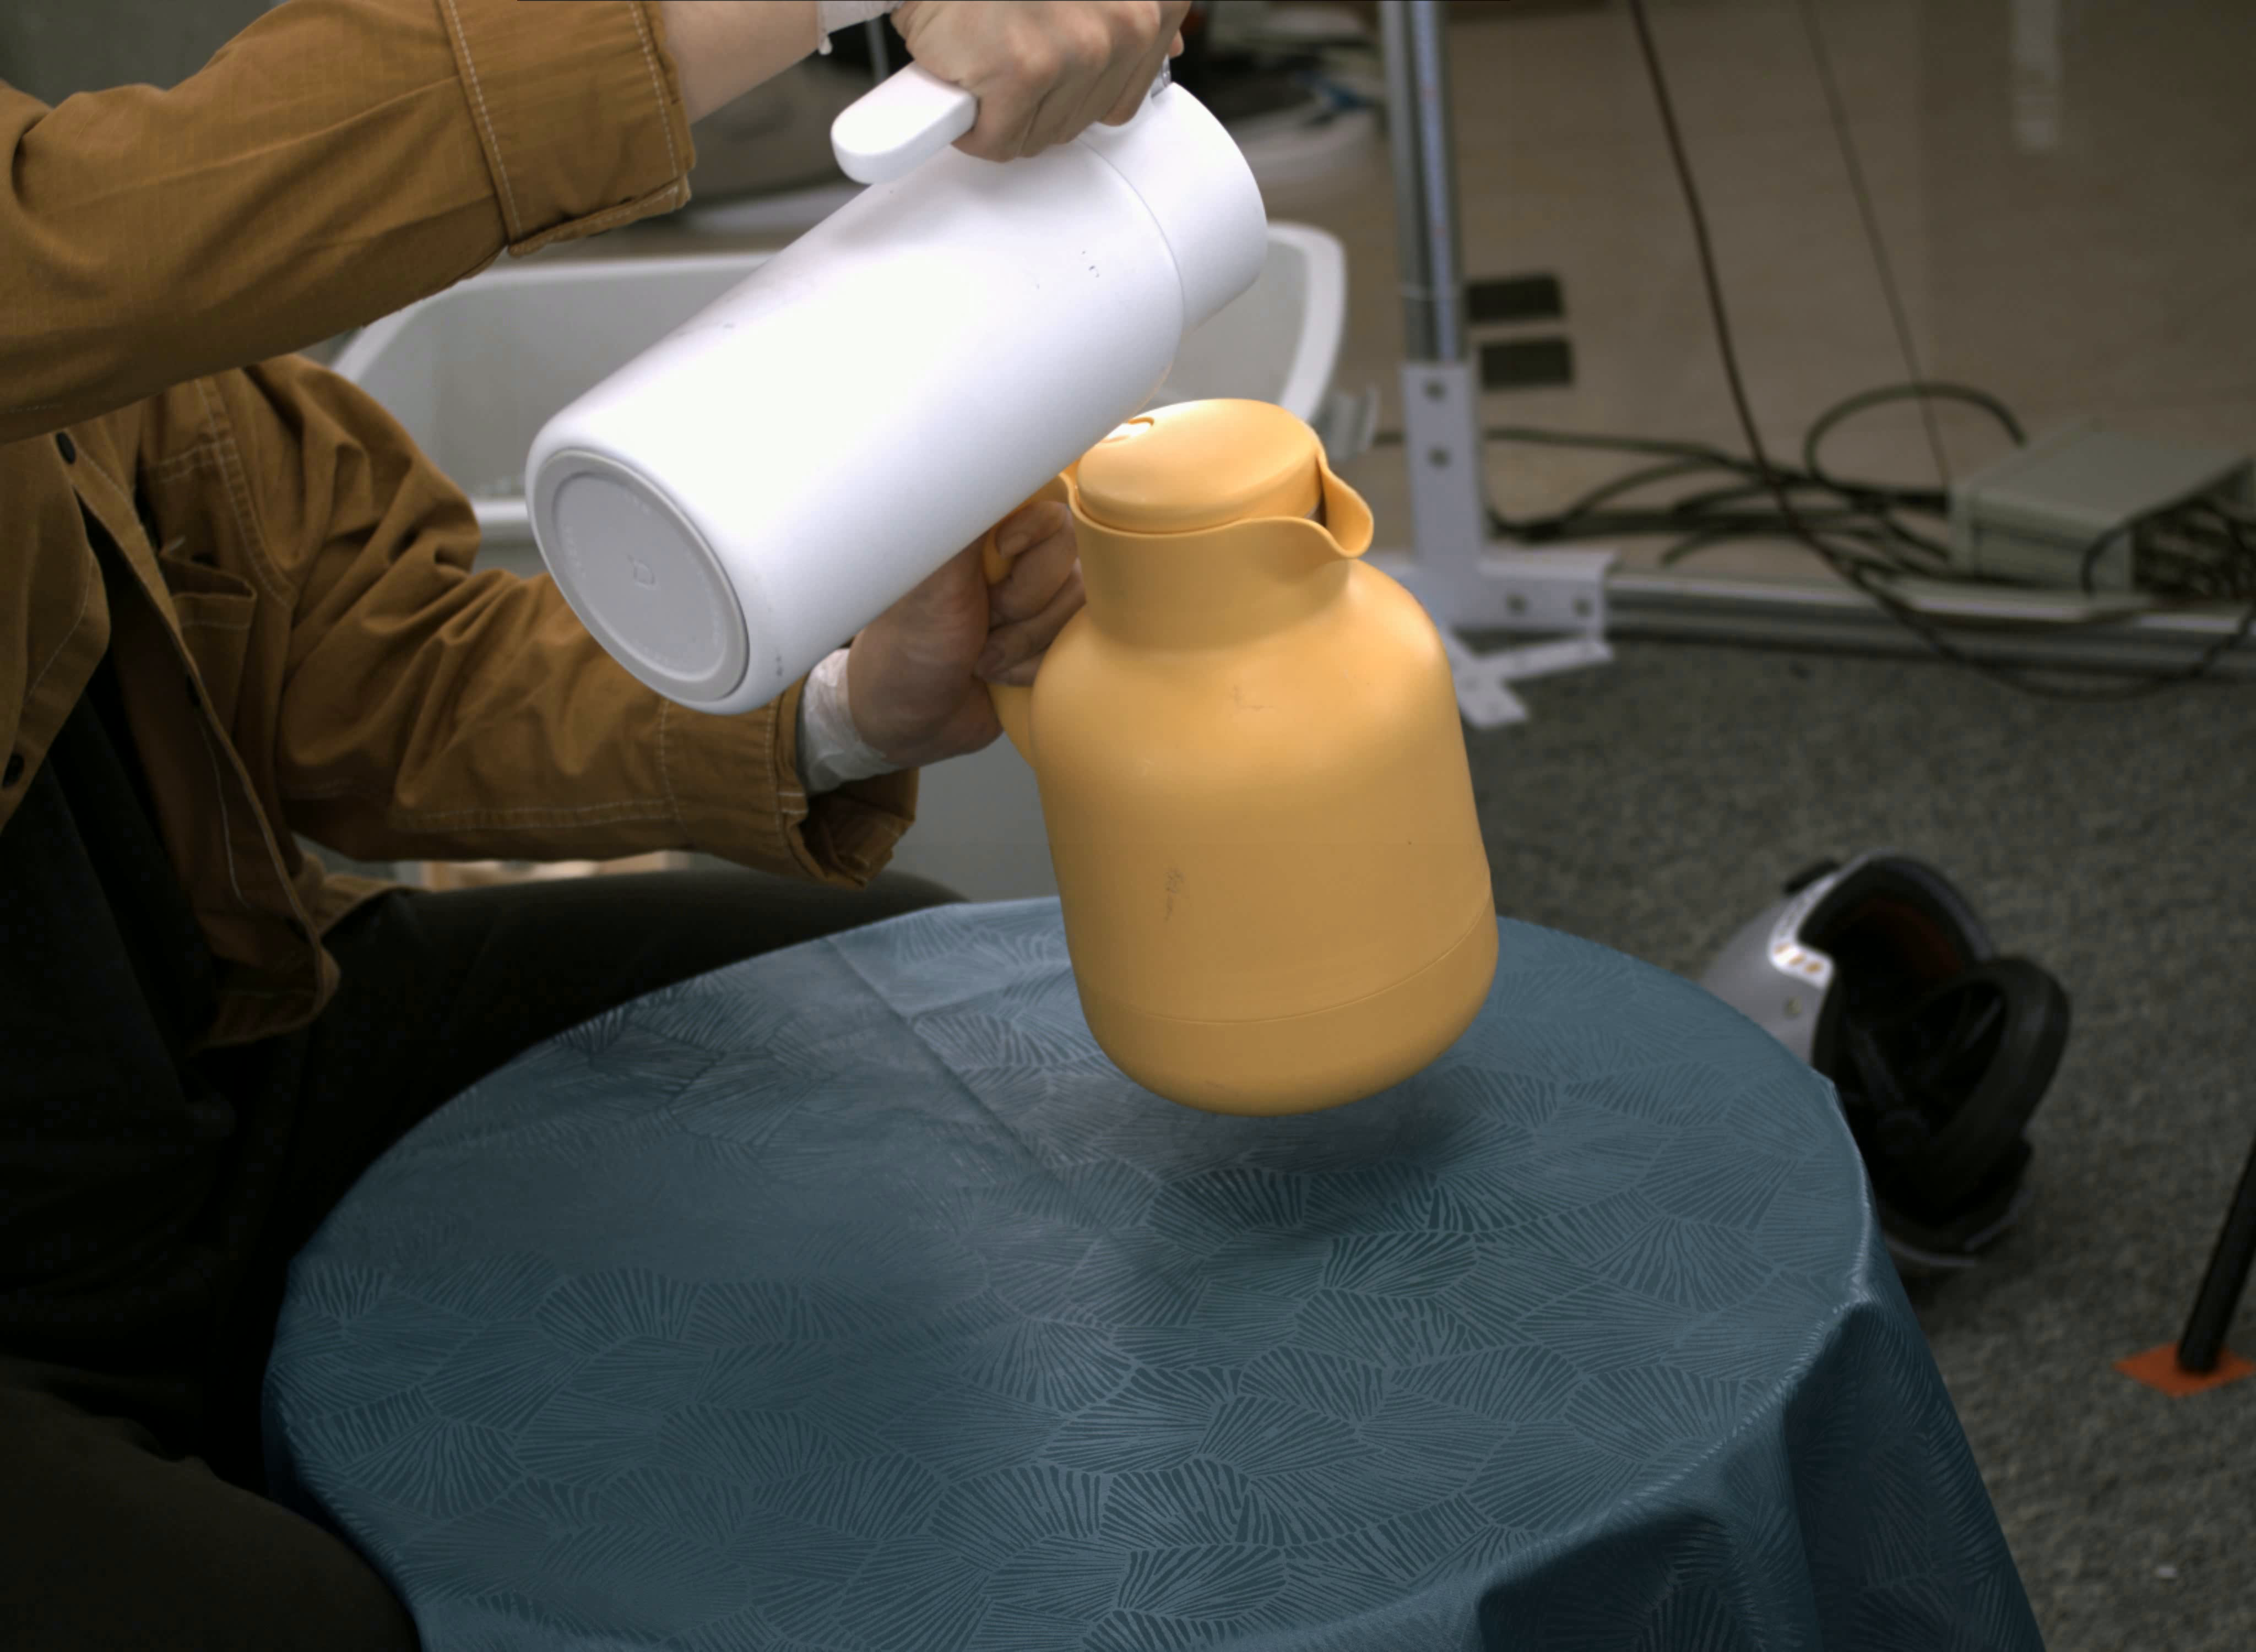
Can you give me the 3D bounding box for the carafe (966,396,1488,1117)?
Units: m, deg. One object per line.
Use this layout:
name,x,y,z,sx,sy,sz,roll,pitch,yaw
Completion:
carafe,0.030,-0.036,2.129,0.201,0.265,0.162,20,40,39

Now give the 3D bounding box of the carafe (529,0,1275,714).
carafe,-0.073,-0.167,1.905,0.122,0.176,0.266,32,55,31
